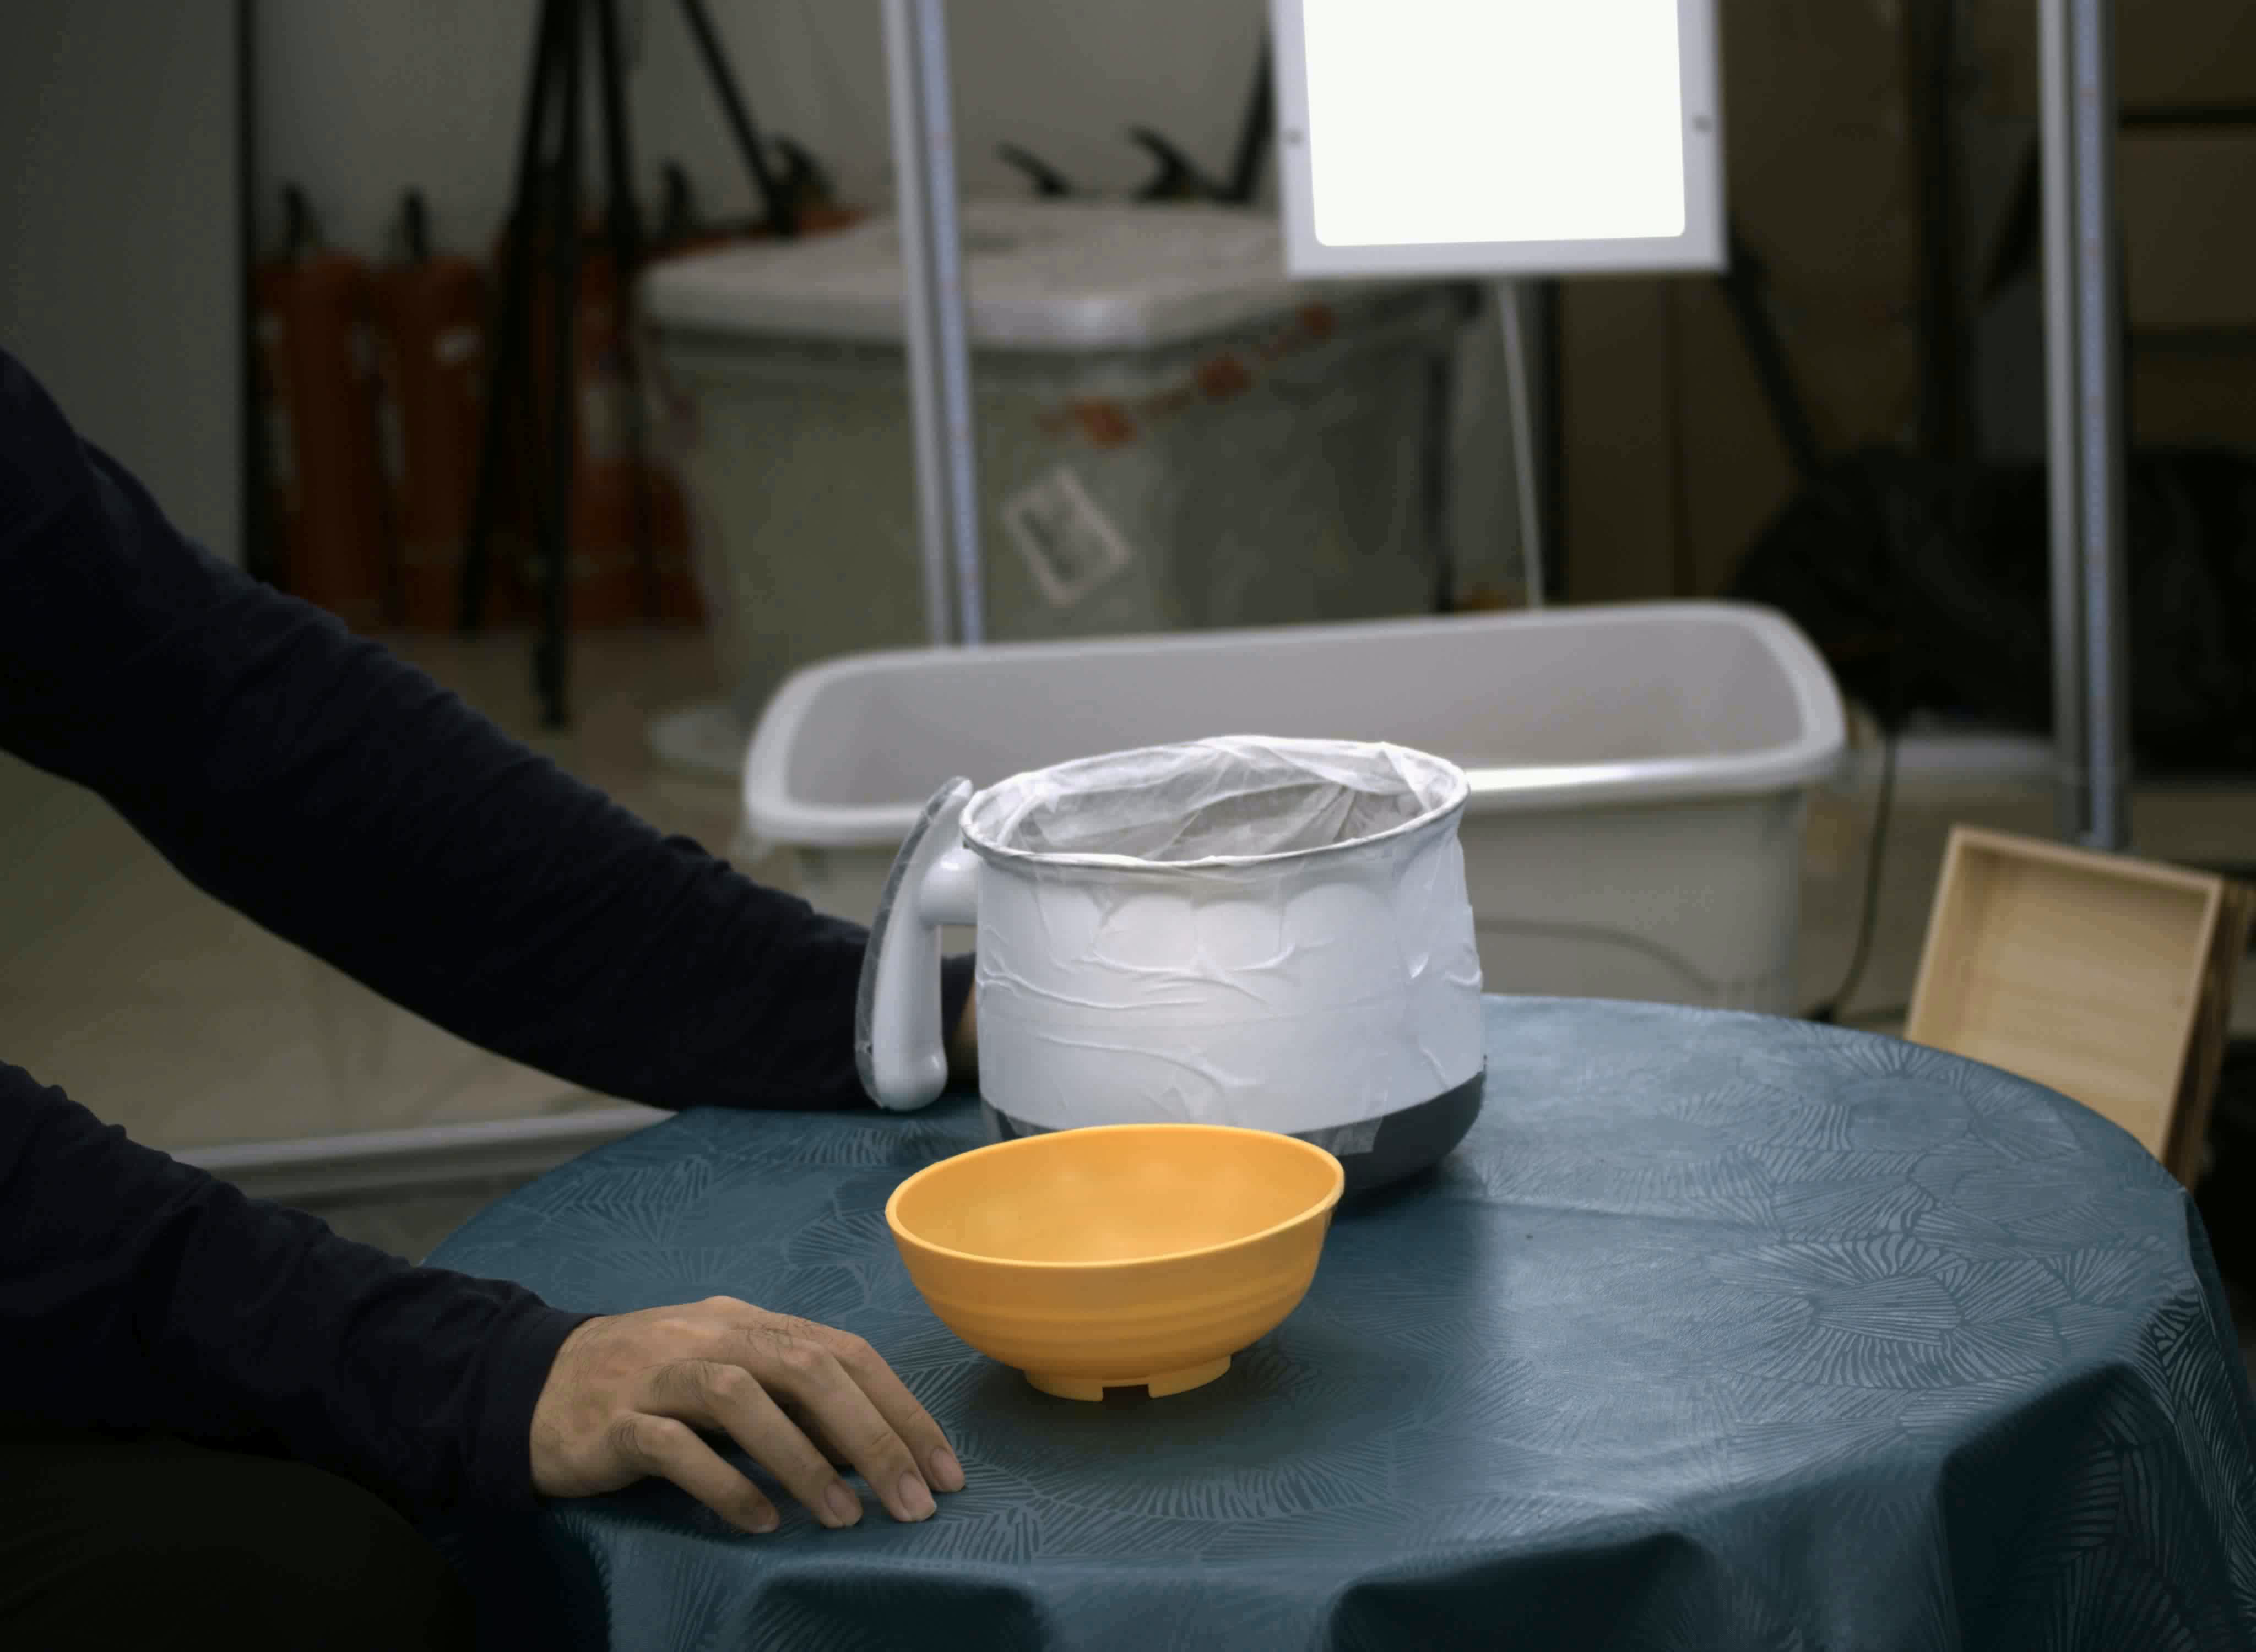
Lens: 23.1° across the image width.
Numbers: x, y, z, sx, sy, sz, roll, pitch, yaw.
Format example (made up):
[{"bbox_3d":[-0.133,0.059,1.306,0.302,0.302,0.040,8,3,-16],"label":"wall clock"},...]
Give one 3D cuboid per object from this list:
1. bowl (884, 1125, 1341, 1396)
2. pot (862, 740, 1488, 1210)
[{"bbox_3d":[-0.003,0.139,1.718,0.145,0.060,0.145,-3,13,-1],"label":"bowl"},{"bbox_3d":[0.010,0.053,1.922,0.238,0.137,0.175,0,15,27],"label":"pot"}]
